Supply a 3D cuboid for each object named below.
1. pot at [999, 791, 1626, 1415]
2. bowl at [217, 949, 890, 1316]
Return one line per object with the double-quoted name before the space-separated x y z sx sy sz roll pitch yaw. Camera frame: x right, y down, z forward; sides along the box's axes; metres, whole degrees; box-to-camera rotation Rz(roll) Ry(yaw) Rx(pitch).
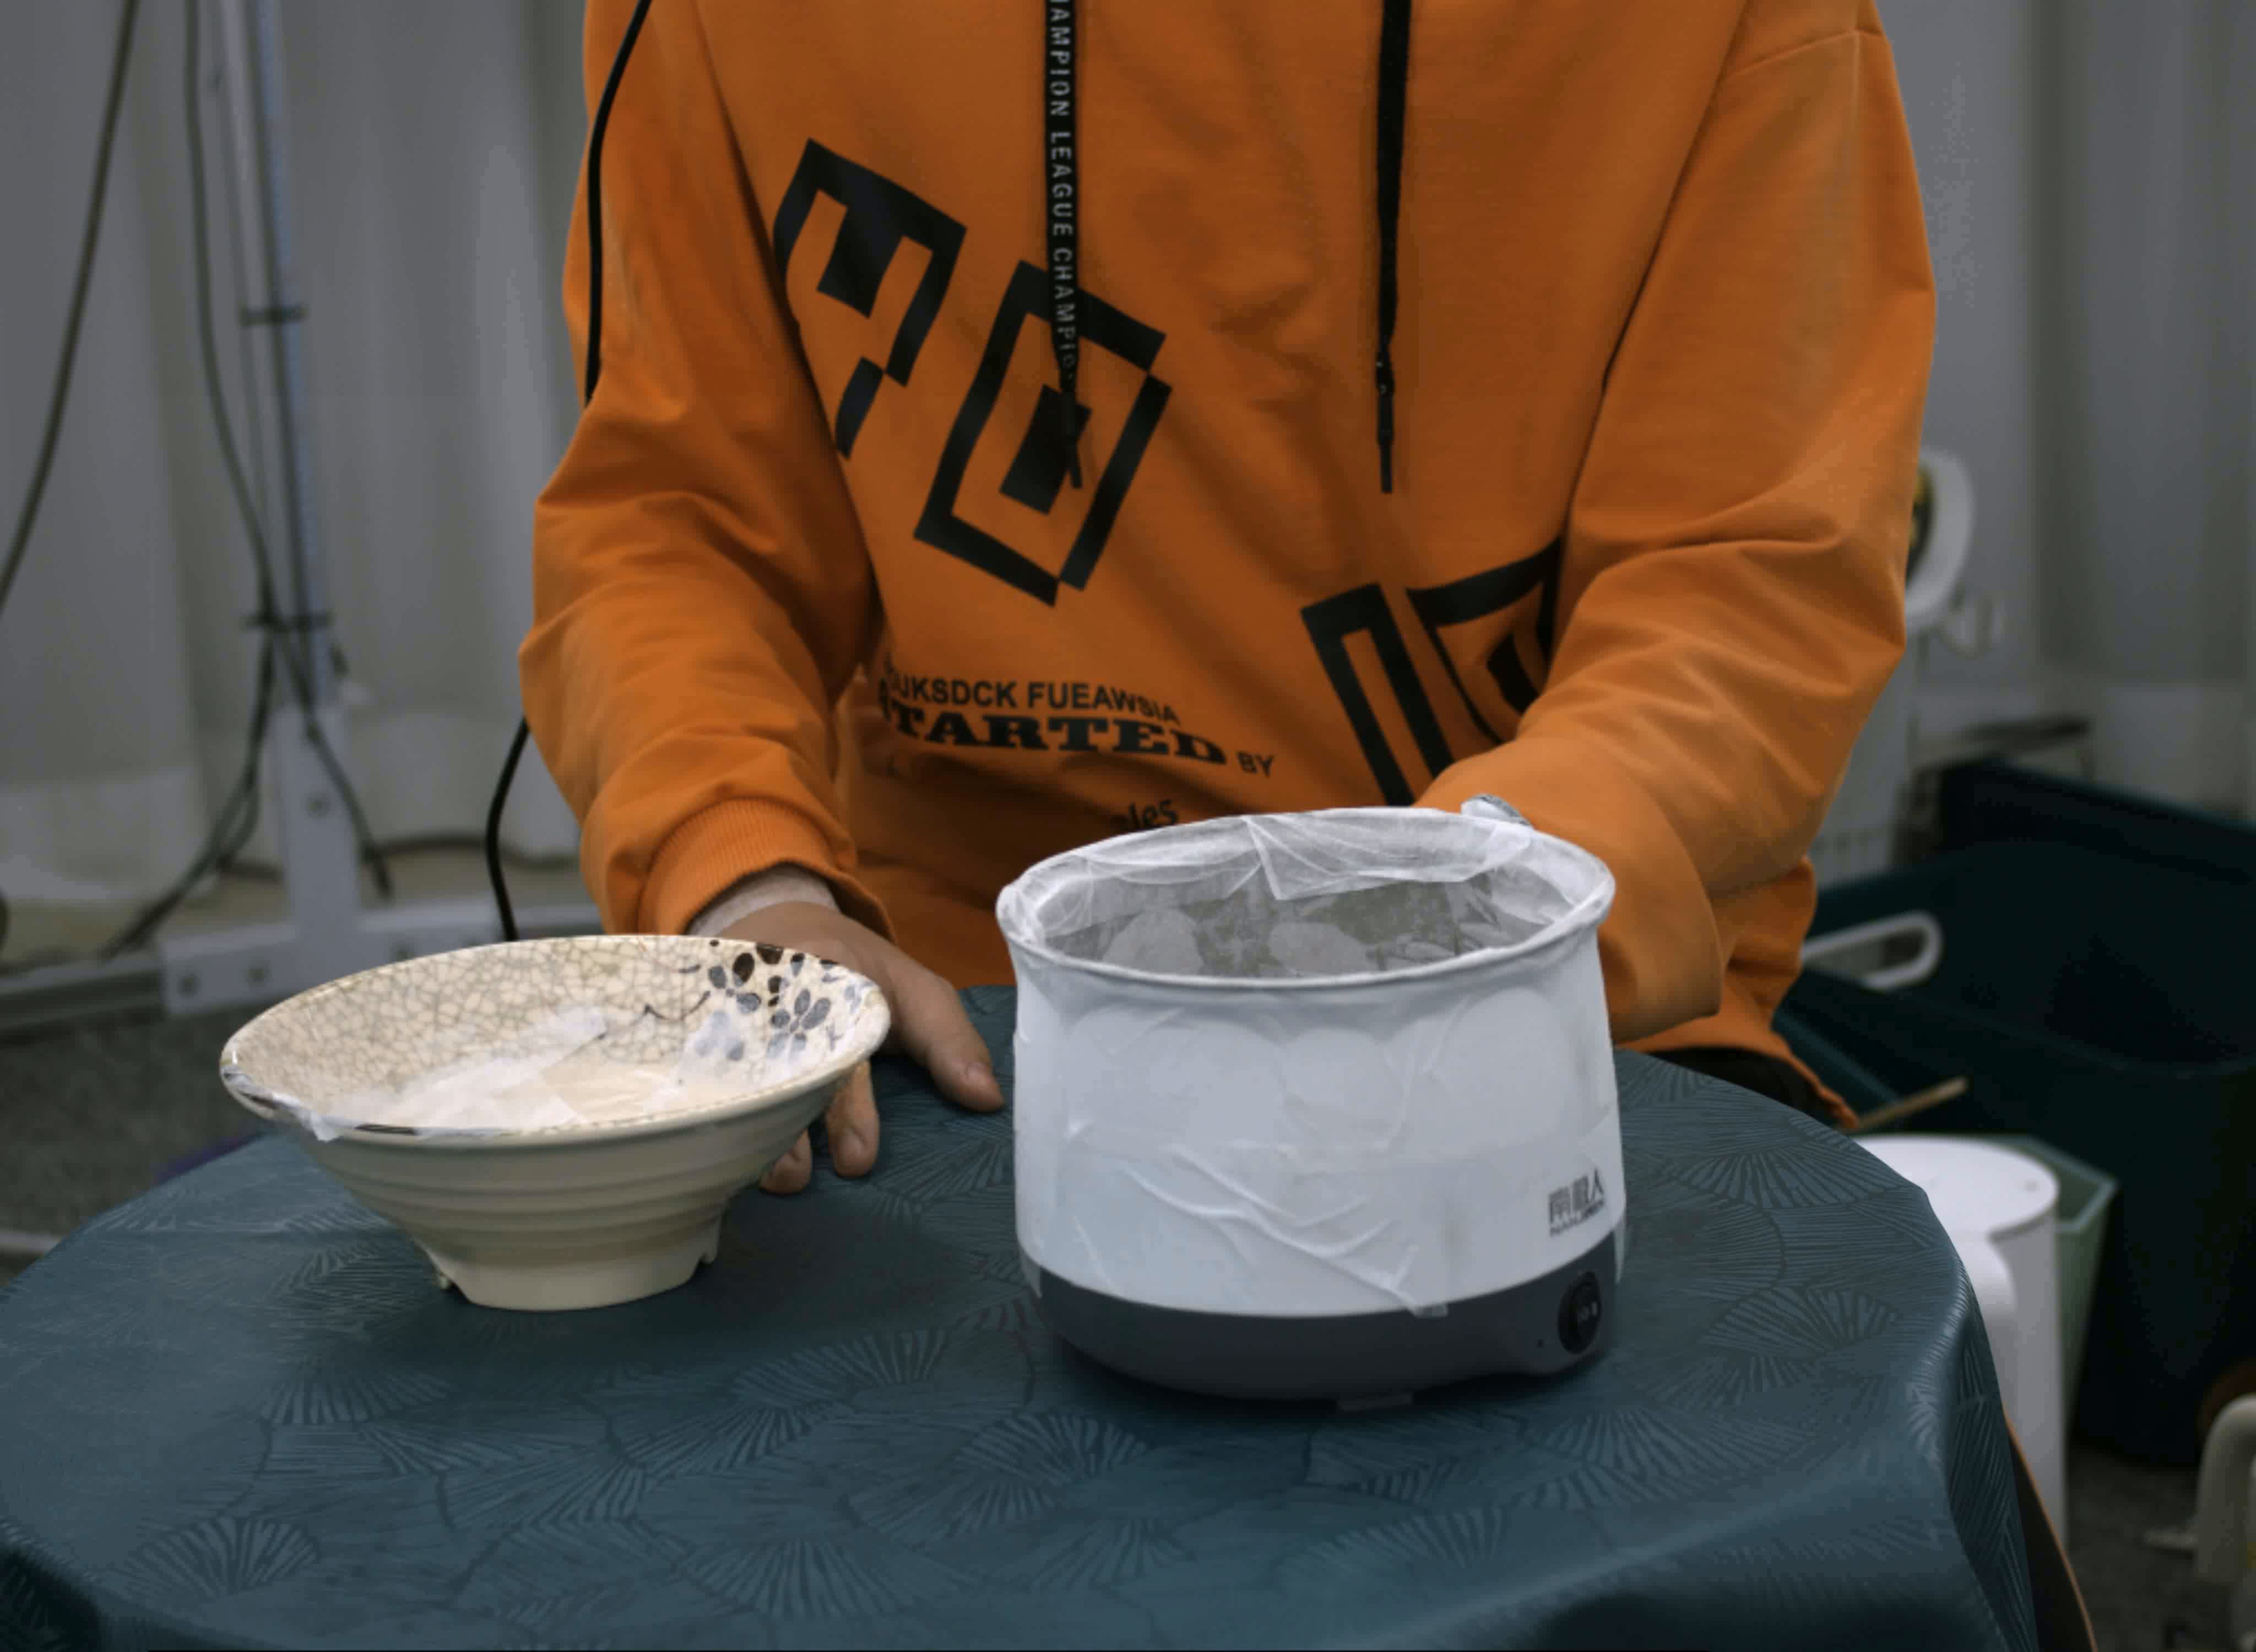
"pot" 0.069 0.073 1.594 0.179 0.136 0.234 7 18 33
"bowl" -0.172 0.099 1.665 0.203 0.078 0.205 -3 12 0
